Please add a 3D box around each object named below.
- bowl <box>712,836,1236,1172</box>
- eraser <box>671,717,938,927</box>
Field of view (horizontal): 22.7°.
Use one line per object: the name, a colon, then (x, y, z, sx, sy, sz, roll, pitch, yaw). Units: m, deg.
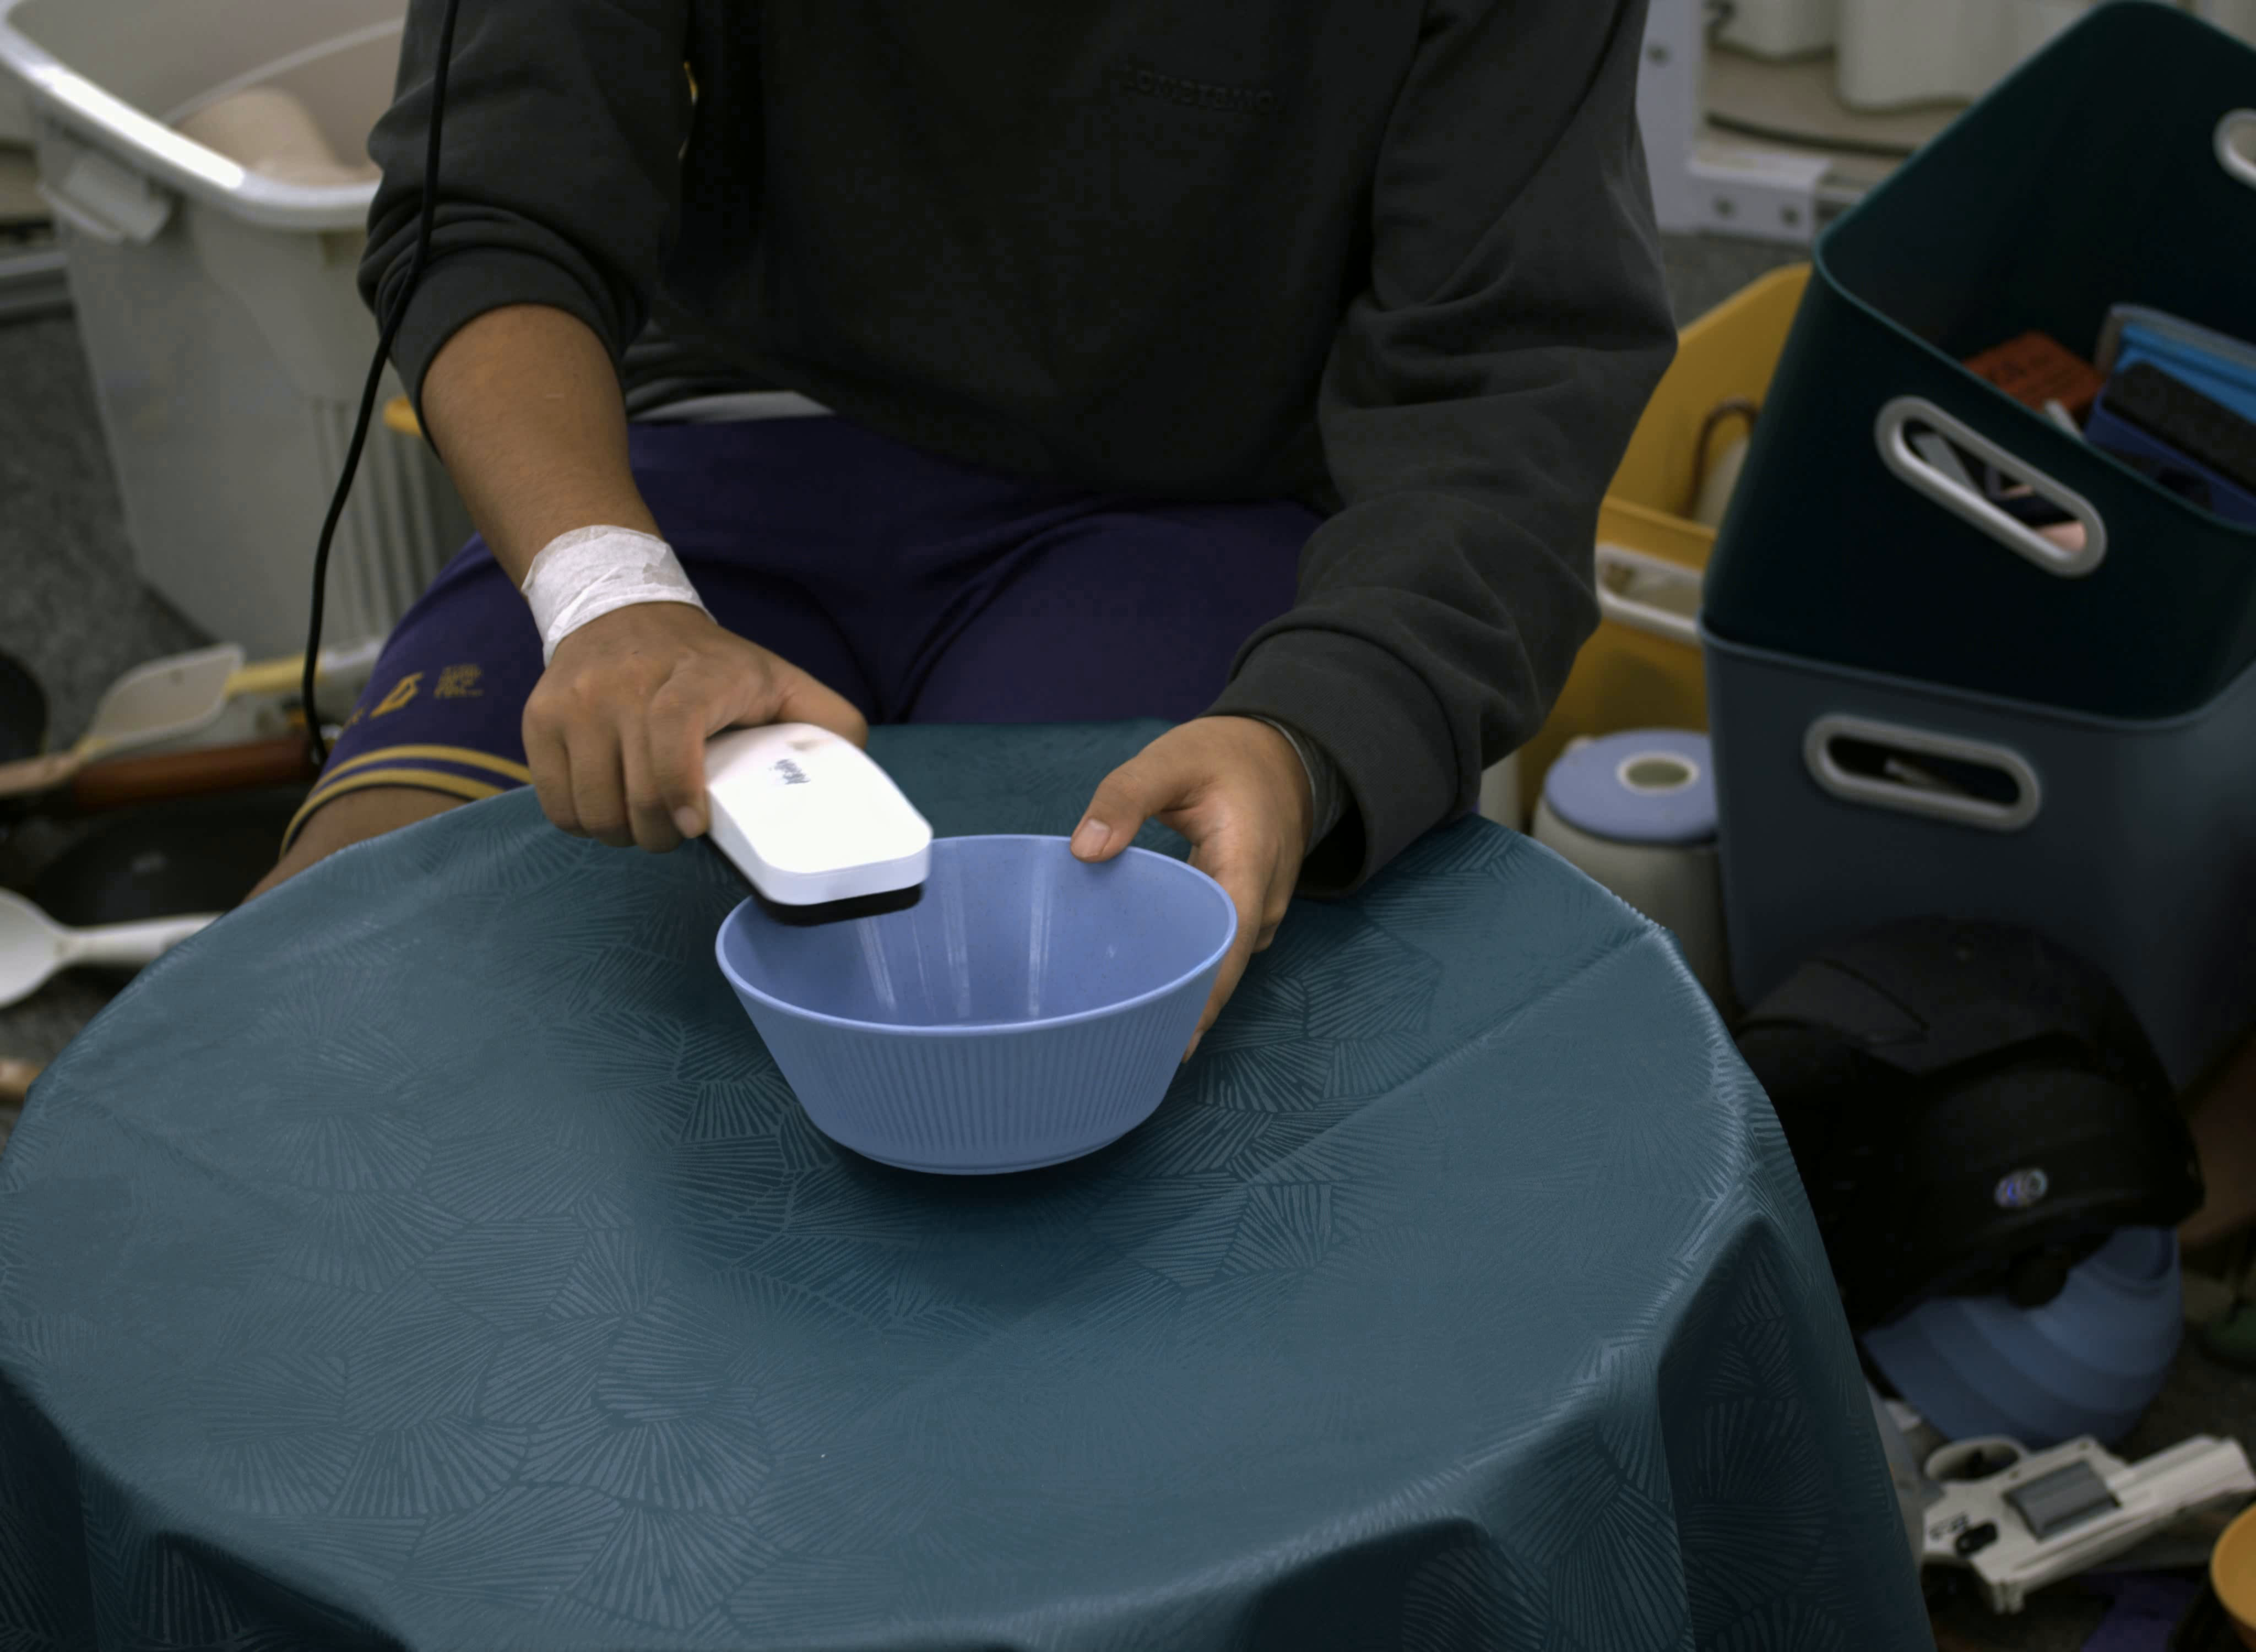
bowl: (-0.051, 0.064, 1.889, 0.175, 0.070, 0.178, -1, 20, 1)
eraser: (-0.112, -0.006, 1.945, 0.063, 0.034, 0.132, -8, 25, -21)
